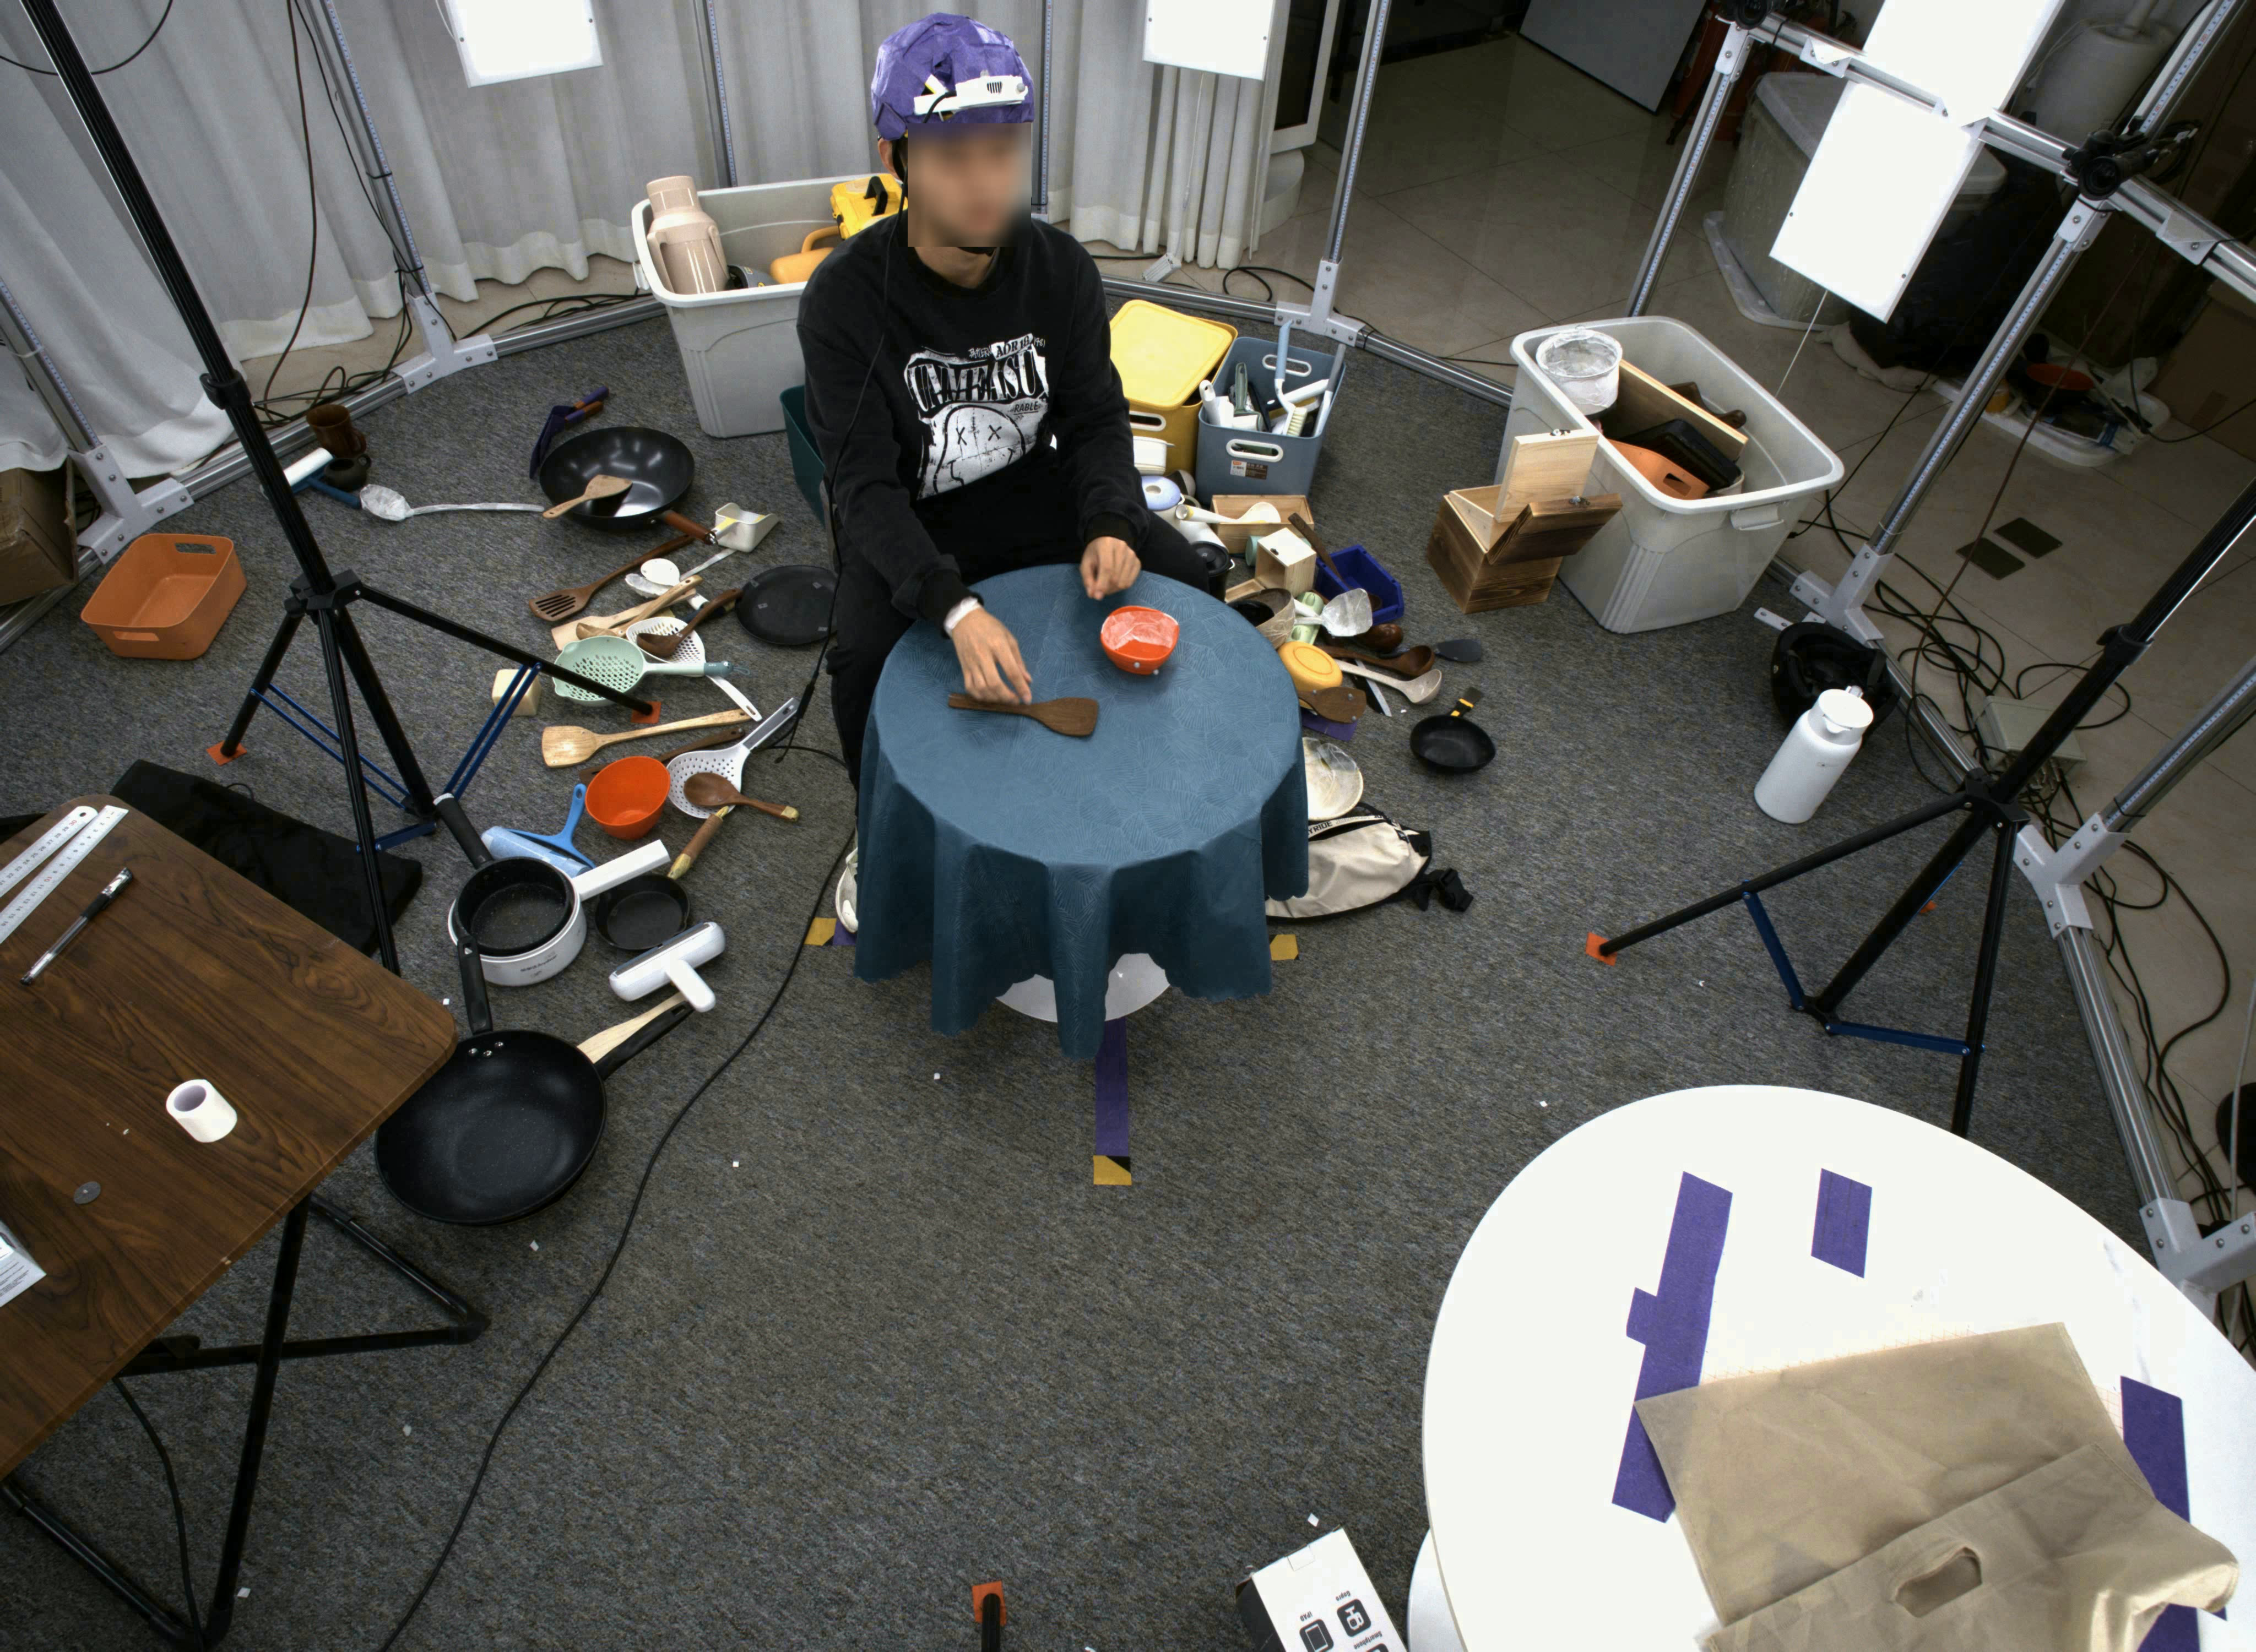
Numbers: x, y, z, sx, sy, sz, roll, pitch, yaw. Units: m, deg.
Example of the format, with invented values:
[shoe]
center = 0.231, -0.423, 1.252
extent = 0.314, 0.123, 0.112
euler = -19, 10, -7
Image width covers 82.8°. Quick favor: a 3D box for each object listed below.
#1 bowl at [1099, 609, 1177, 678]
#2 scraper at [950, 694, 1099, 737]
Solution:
[bowl]
center = 0.013, -0.261, 1.885
extent = 0.119, 0.050, 0.122
euler = 1, 53, -2
[scraper]
center = -0.146, -0.163, 1.811
extent = 0.211, 0.010, 0.077
euler = 8, 48, 4
